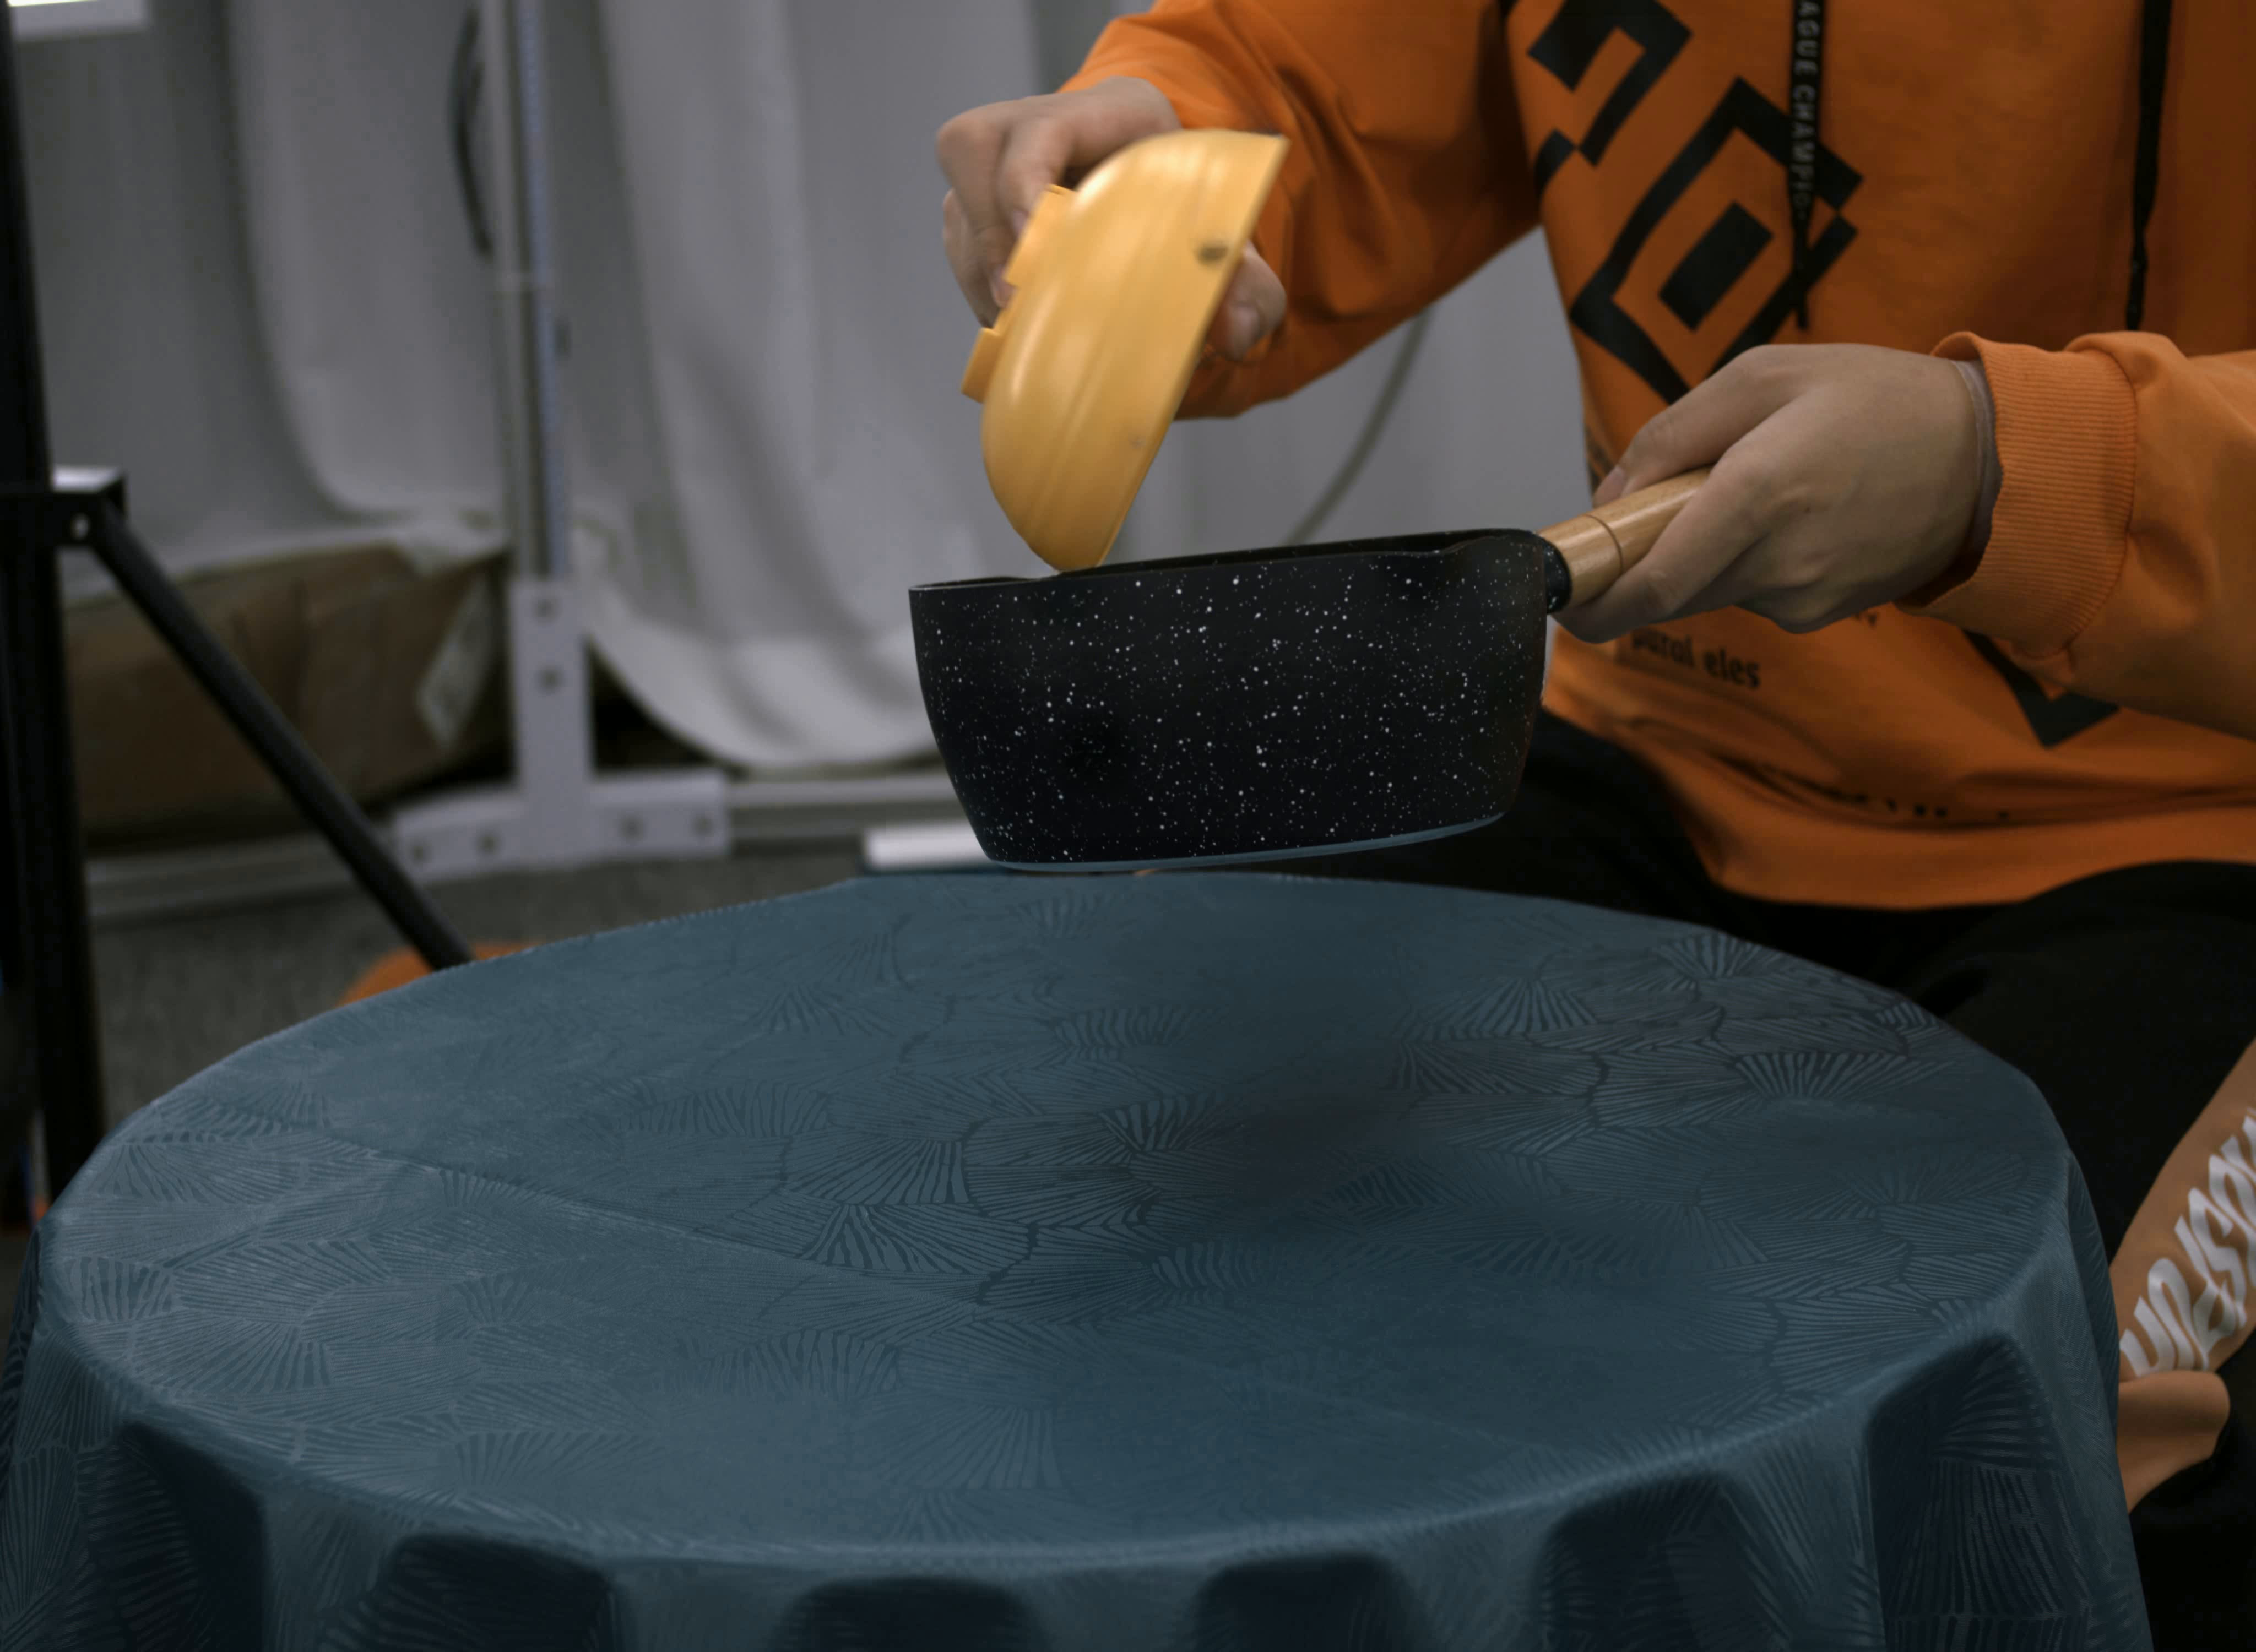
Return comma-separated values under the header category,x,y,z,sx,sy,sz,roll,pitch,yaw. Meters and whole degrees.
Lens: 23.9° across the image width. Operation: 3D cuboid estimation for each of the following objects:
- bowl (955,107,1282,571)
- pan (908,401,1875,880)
category,x,y,z,sx,sy,sz,roll,pitch,yaw
bowl,-0.011,-0.148,1.540,0.060,0.146,0.145,23,18,0
pan,0.094,-0.057,1.581,0.334,0.108,0.211,-9,4,-34
